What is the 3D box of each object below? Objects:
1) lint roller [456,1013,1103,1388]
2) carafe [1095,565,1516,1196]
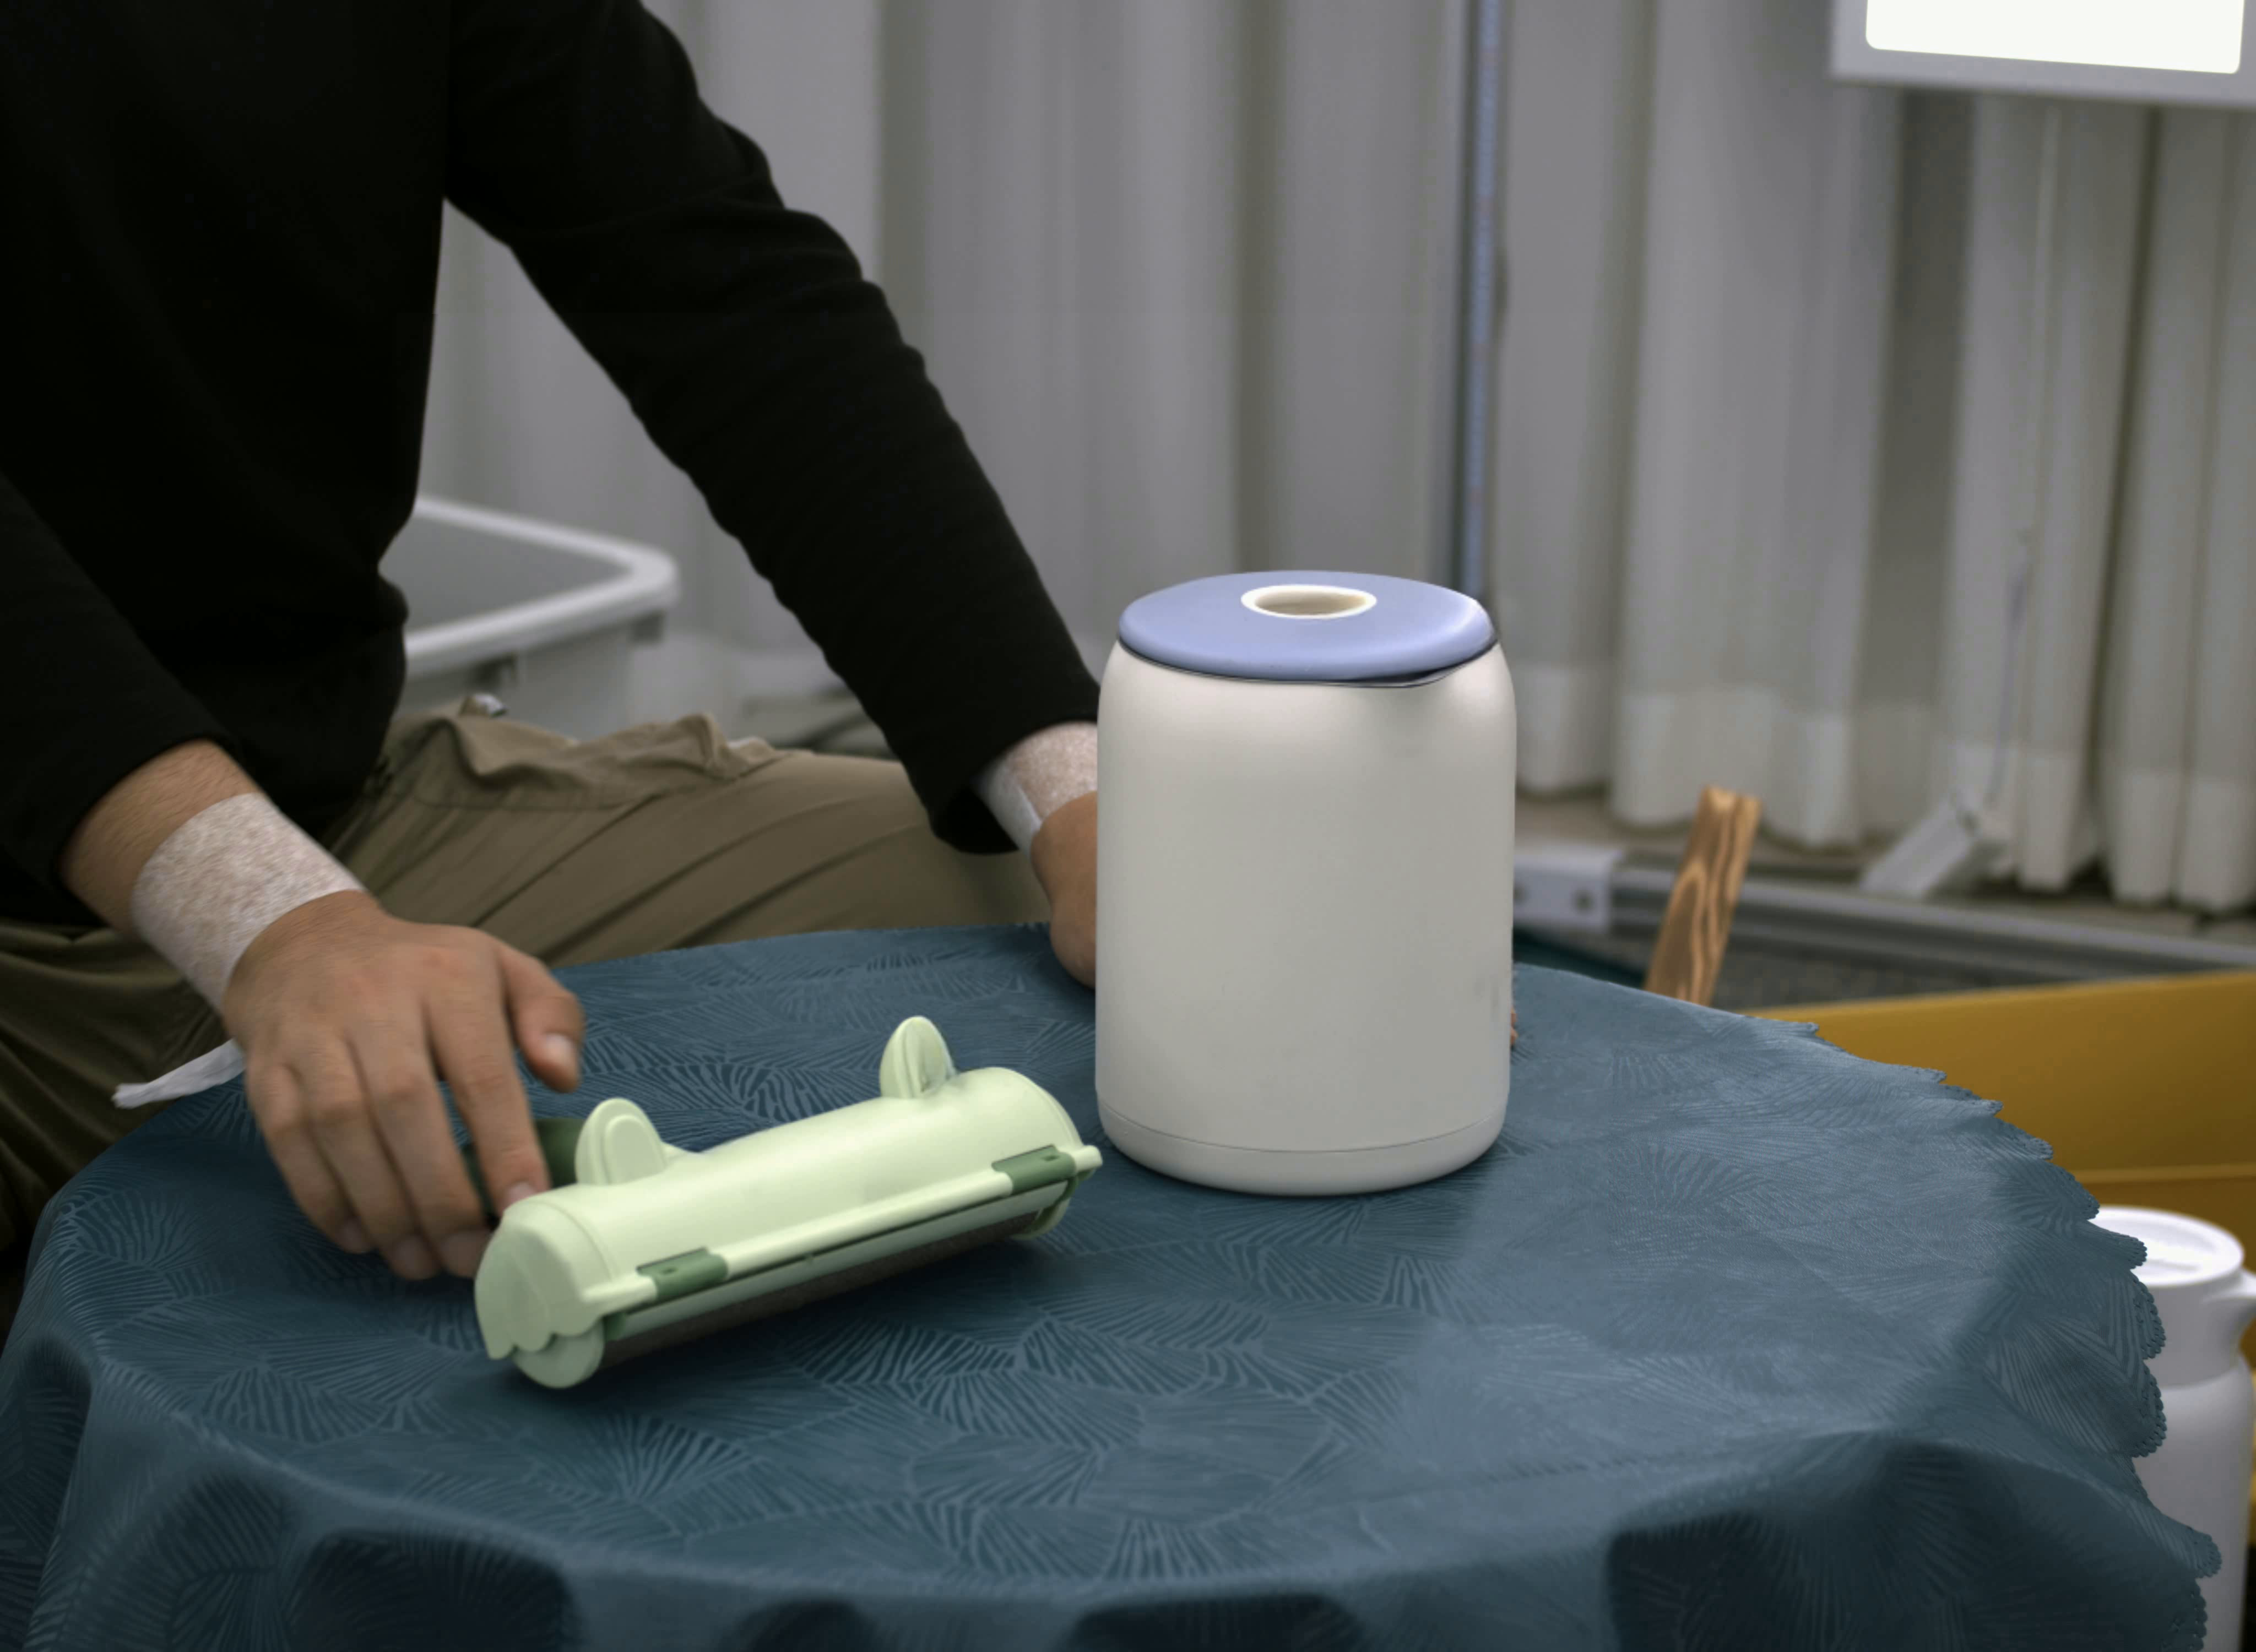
[{"bbox_3d":[-0.136,0.094,1.539,0.181,0.083,0.199,18,22,41],"label":"lint roller"},{"bbox_3d":[0.044,0.010,1.668,0.133,0.184,0.189,-7,16,-27],"label":"carafe"}]
